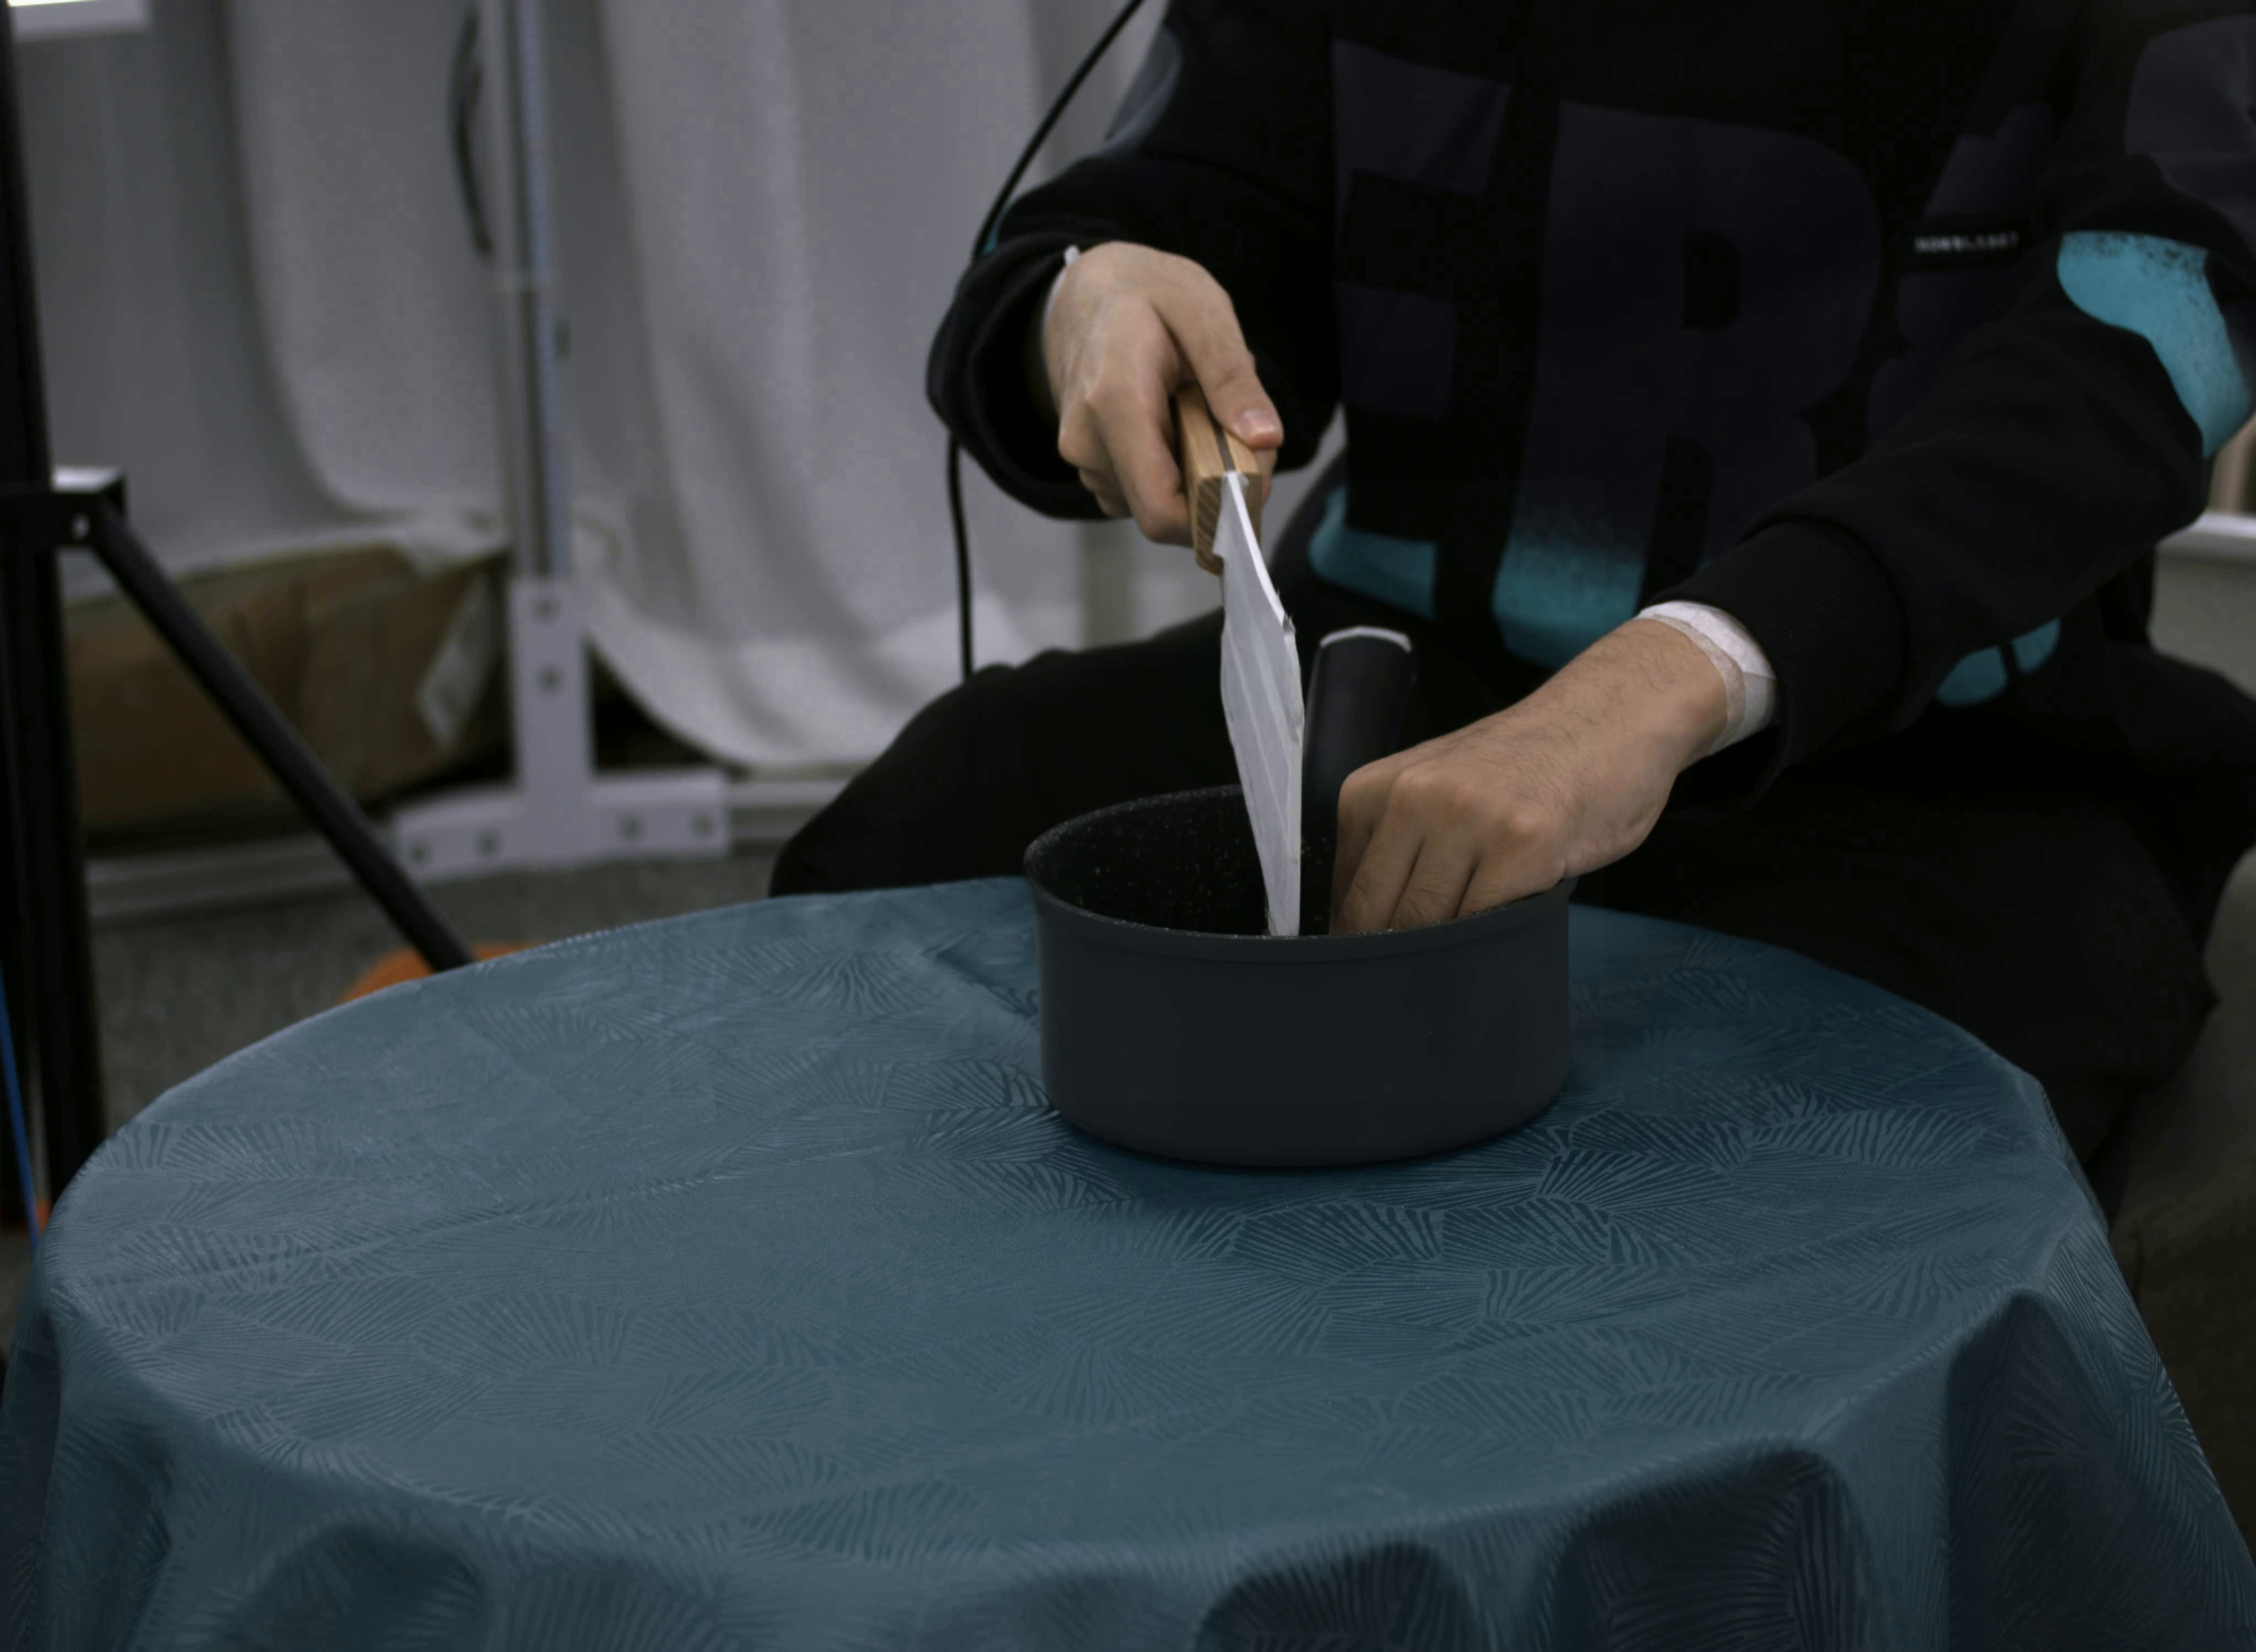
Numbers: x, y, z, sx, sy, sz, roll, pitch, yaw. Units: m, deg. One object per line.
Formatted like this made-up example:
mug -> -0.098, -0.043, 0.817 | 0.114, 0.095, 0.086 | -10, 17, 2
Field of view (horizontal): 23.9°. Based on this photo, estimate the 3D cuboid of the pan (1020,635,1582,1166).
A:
pan -> 0.066, 0.021, 1.702 | 0.173, 0.086, 0.327 | 3, 17, 10

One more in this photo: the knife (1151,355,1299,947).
knife -> 0.034, -0.073, 1.668 | 0.021, 0.113, 0.319 | -2, 29, -5
